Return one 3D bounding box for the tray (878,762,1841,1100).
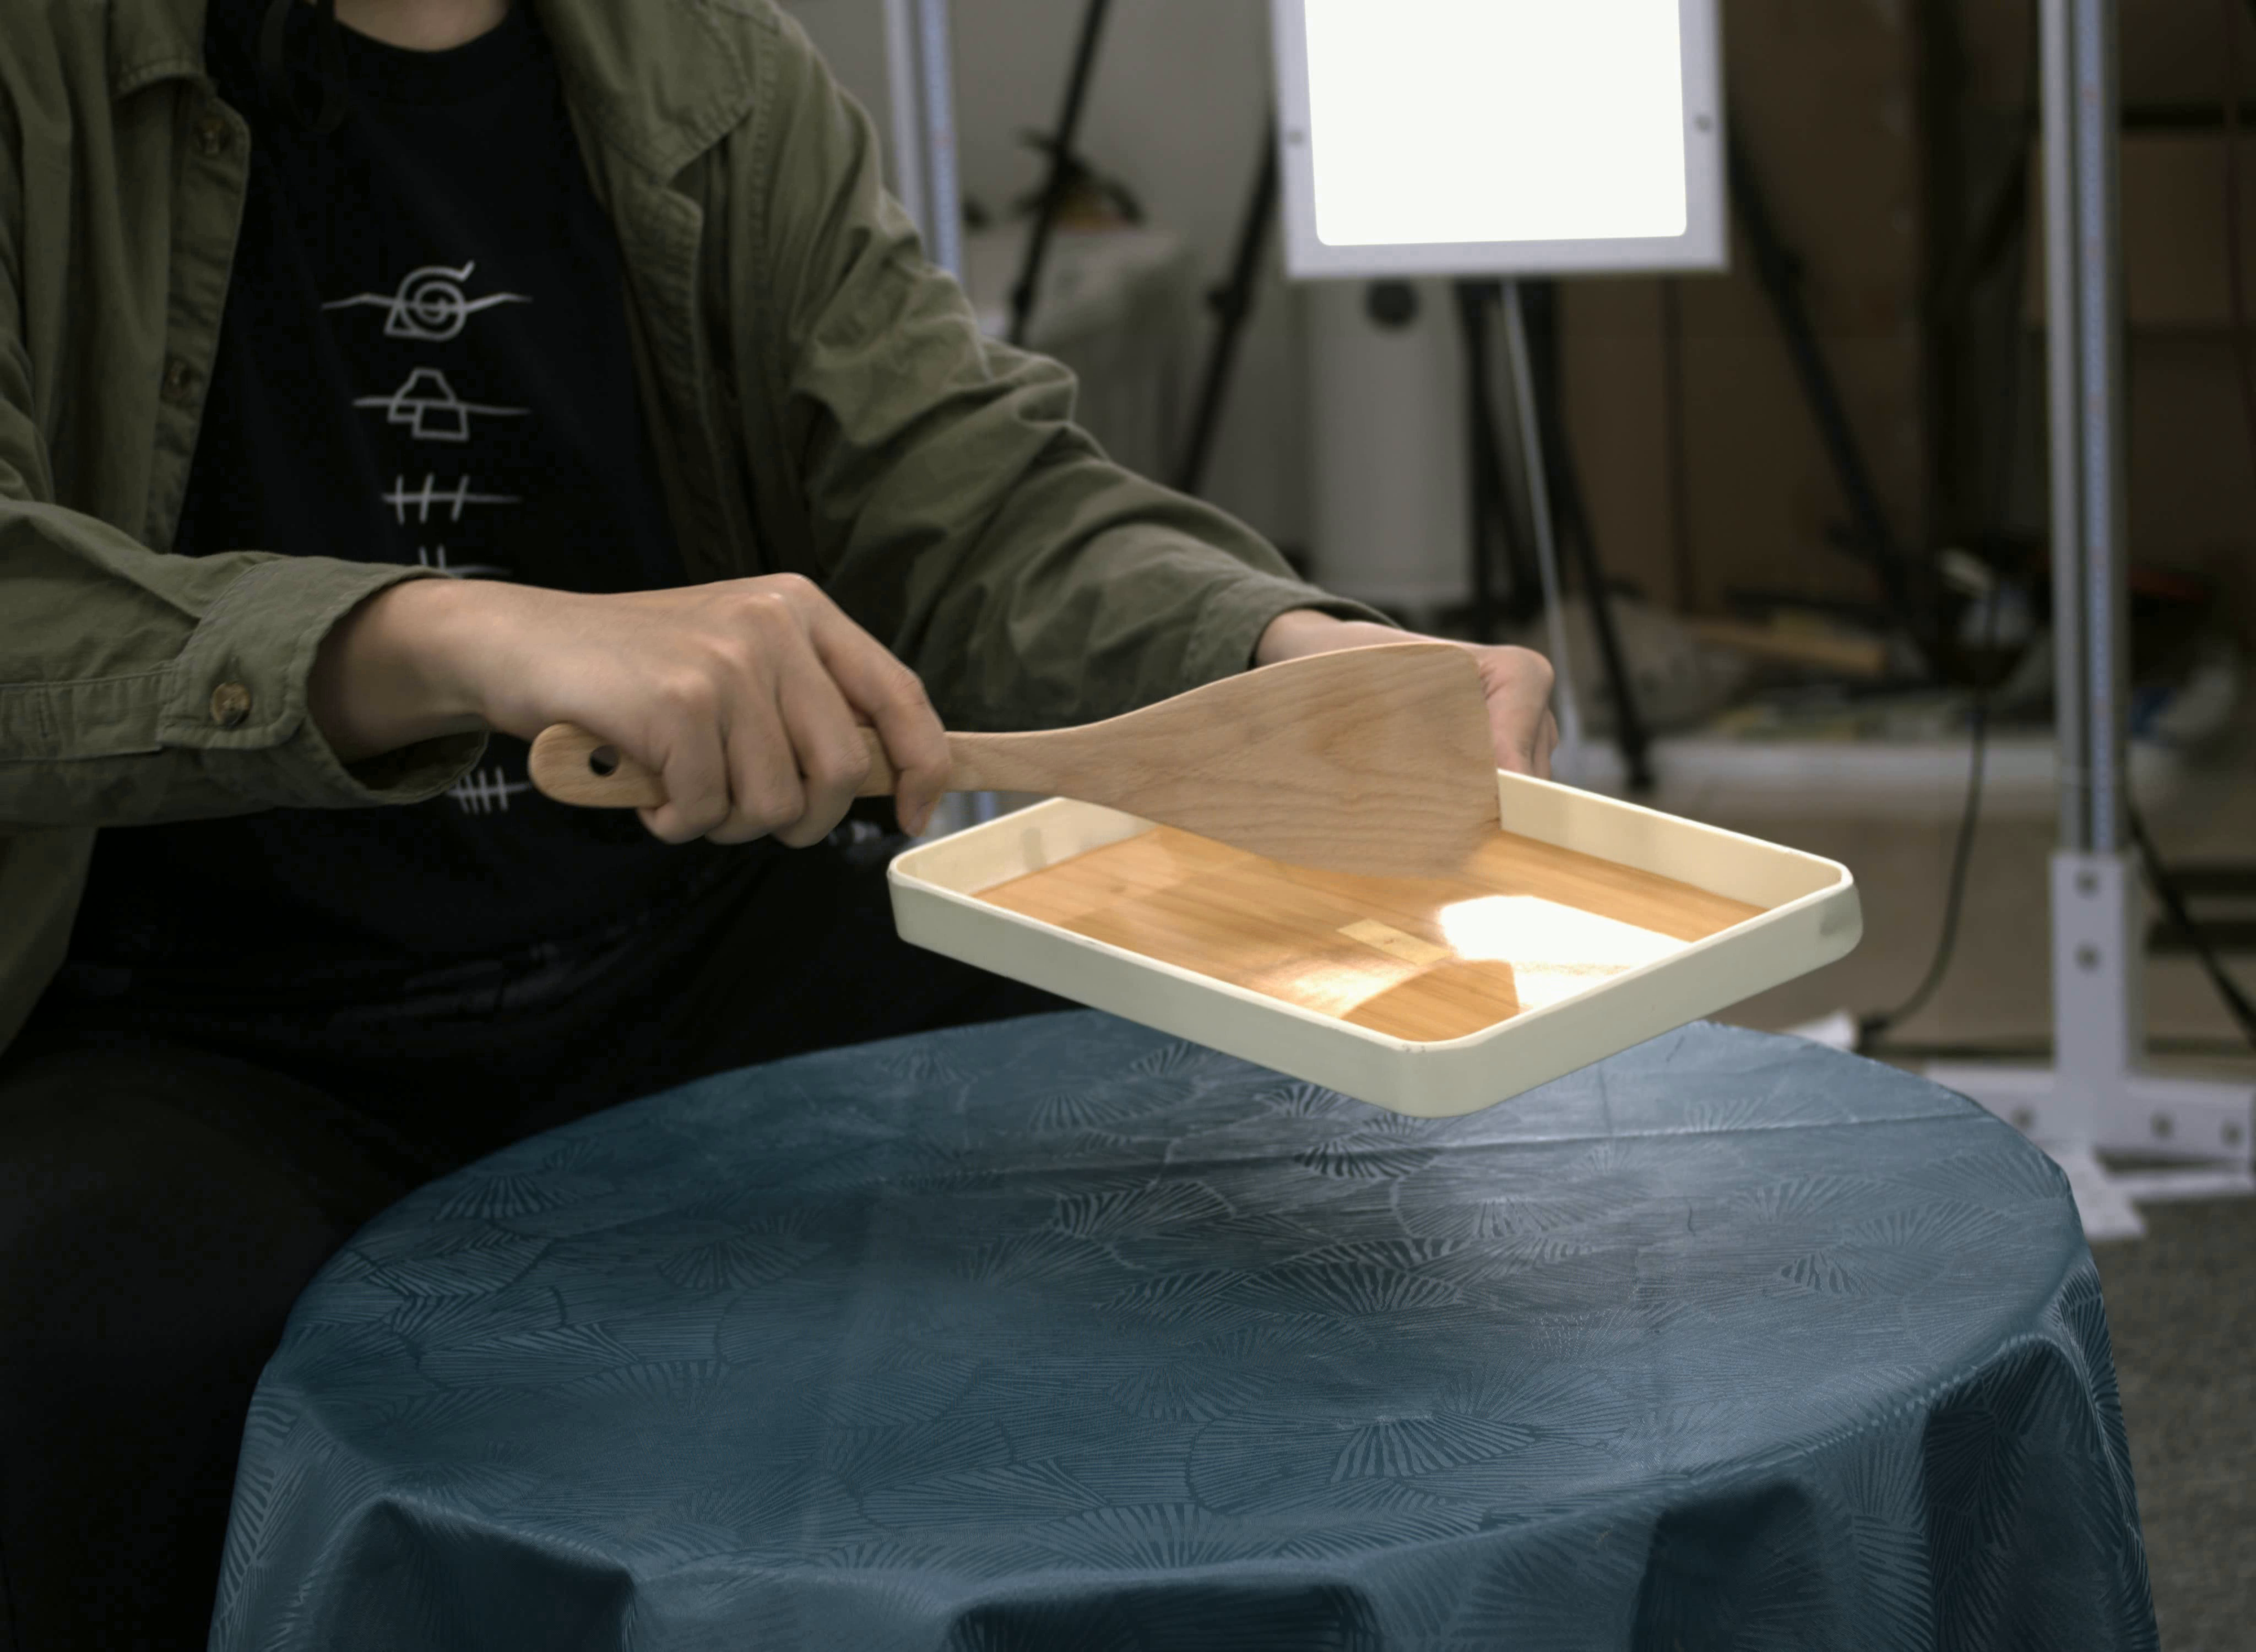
[{"bbox_3d":[0.072,0.023,1.820,0.187,0.027,0.306,-19,20,-32],"label":"tray"}]

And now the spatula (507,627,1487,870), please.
[{"bbox_3d":[-0.037,-0.022,1.748,0.322,0.080,0.017,-1,10,-18],"label":"spatula"}]
